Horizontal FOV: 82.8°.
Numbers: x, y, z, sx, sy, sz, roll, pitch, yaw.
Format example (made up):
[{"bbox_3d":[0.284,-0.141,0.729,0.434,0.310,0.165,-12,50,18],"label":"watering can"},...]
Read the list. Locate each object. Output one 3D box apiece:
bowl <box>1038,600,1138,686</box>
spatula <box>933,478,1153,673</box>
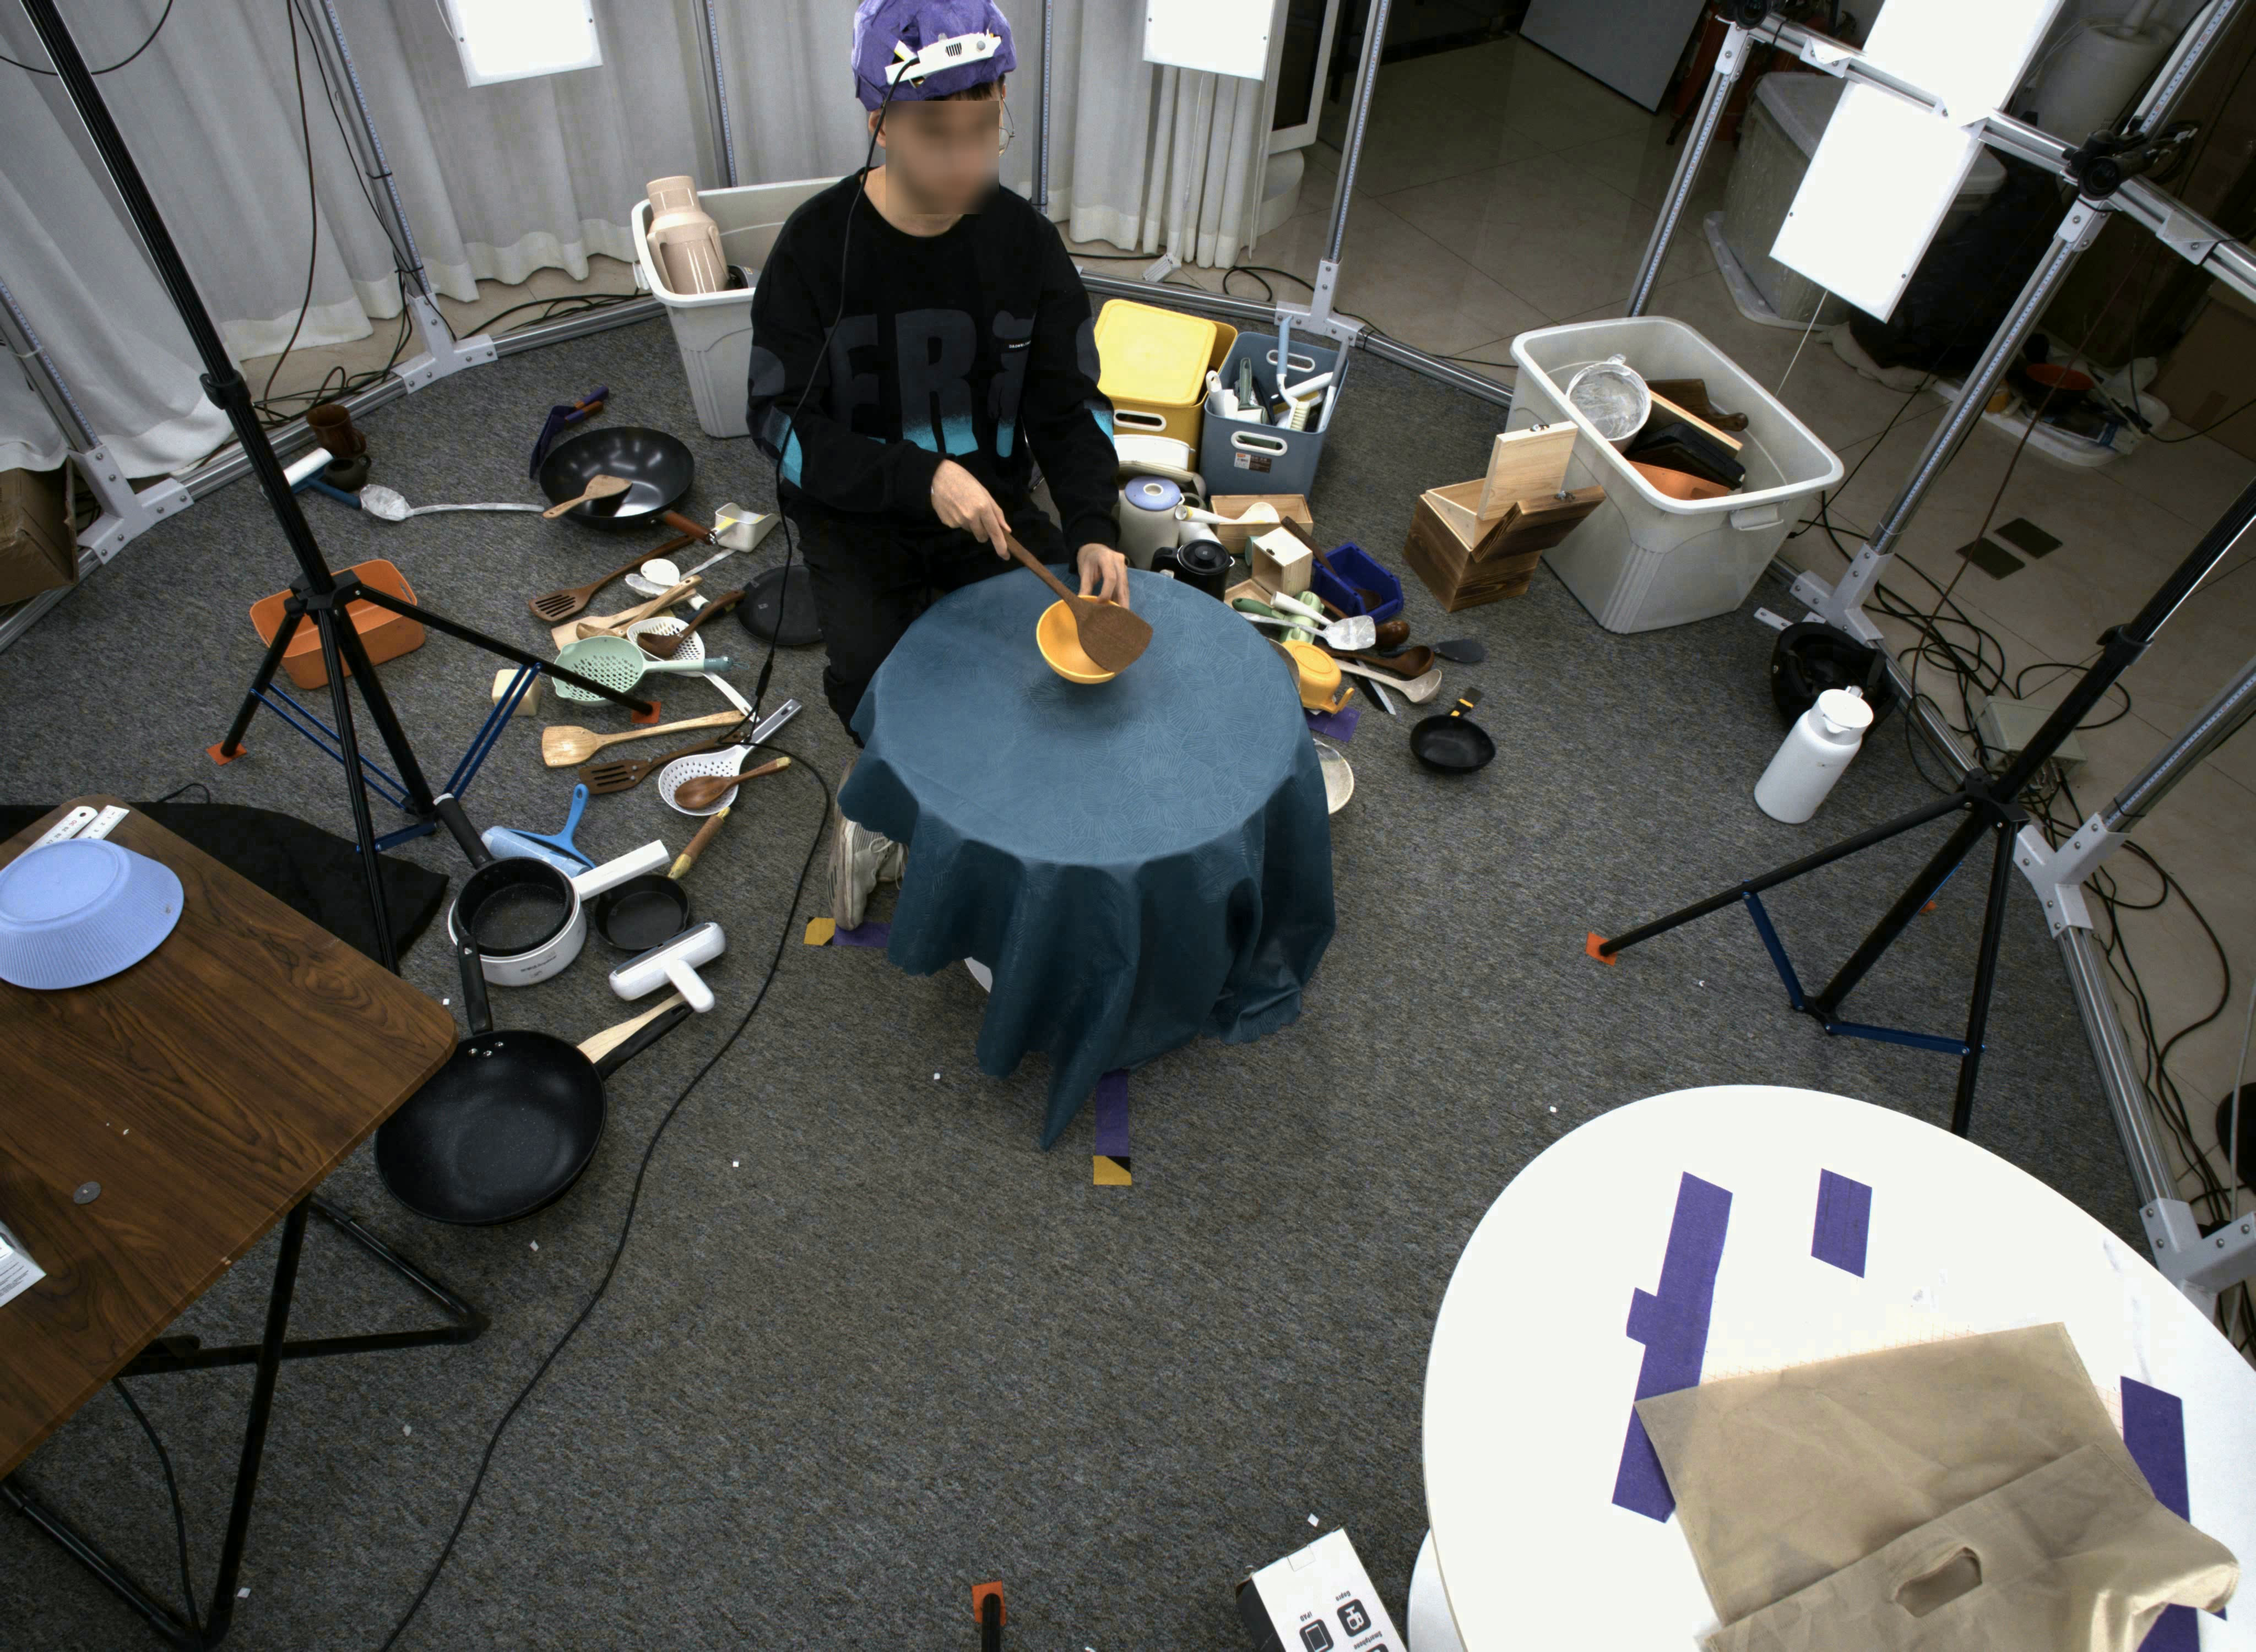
[{"bbox_3d":[-0.059,-0.249,1.828,0.145,0.059,0.149,5,55,-7],"label":"bowl"},{"bbox_3d":[-0.128,-0.362,1.809,0.387,0.015,0.097,42,72,5],"label":"spatula"}]
